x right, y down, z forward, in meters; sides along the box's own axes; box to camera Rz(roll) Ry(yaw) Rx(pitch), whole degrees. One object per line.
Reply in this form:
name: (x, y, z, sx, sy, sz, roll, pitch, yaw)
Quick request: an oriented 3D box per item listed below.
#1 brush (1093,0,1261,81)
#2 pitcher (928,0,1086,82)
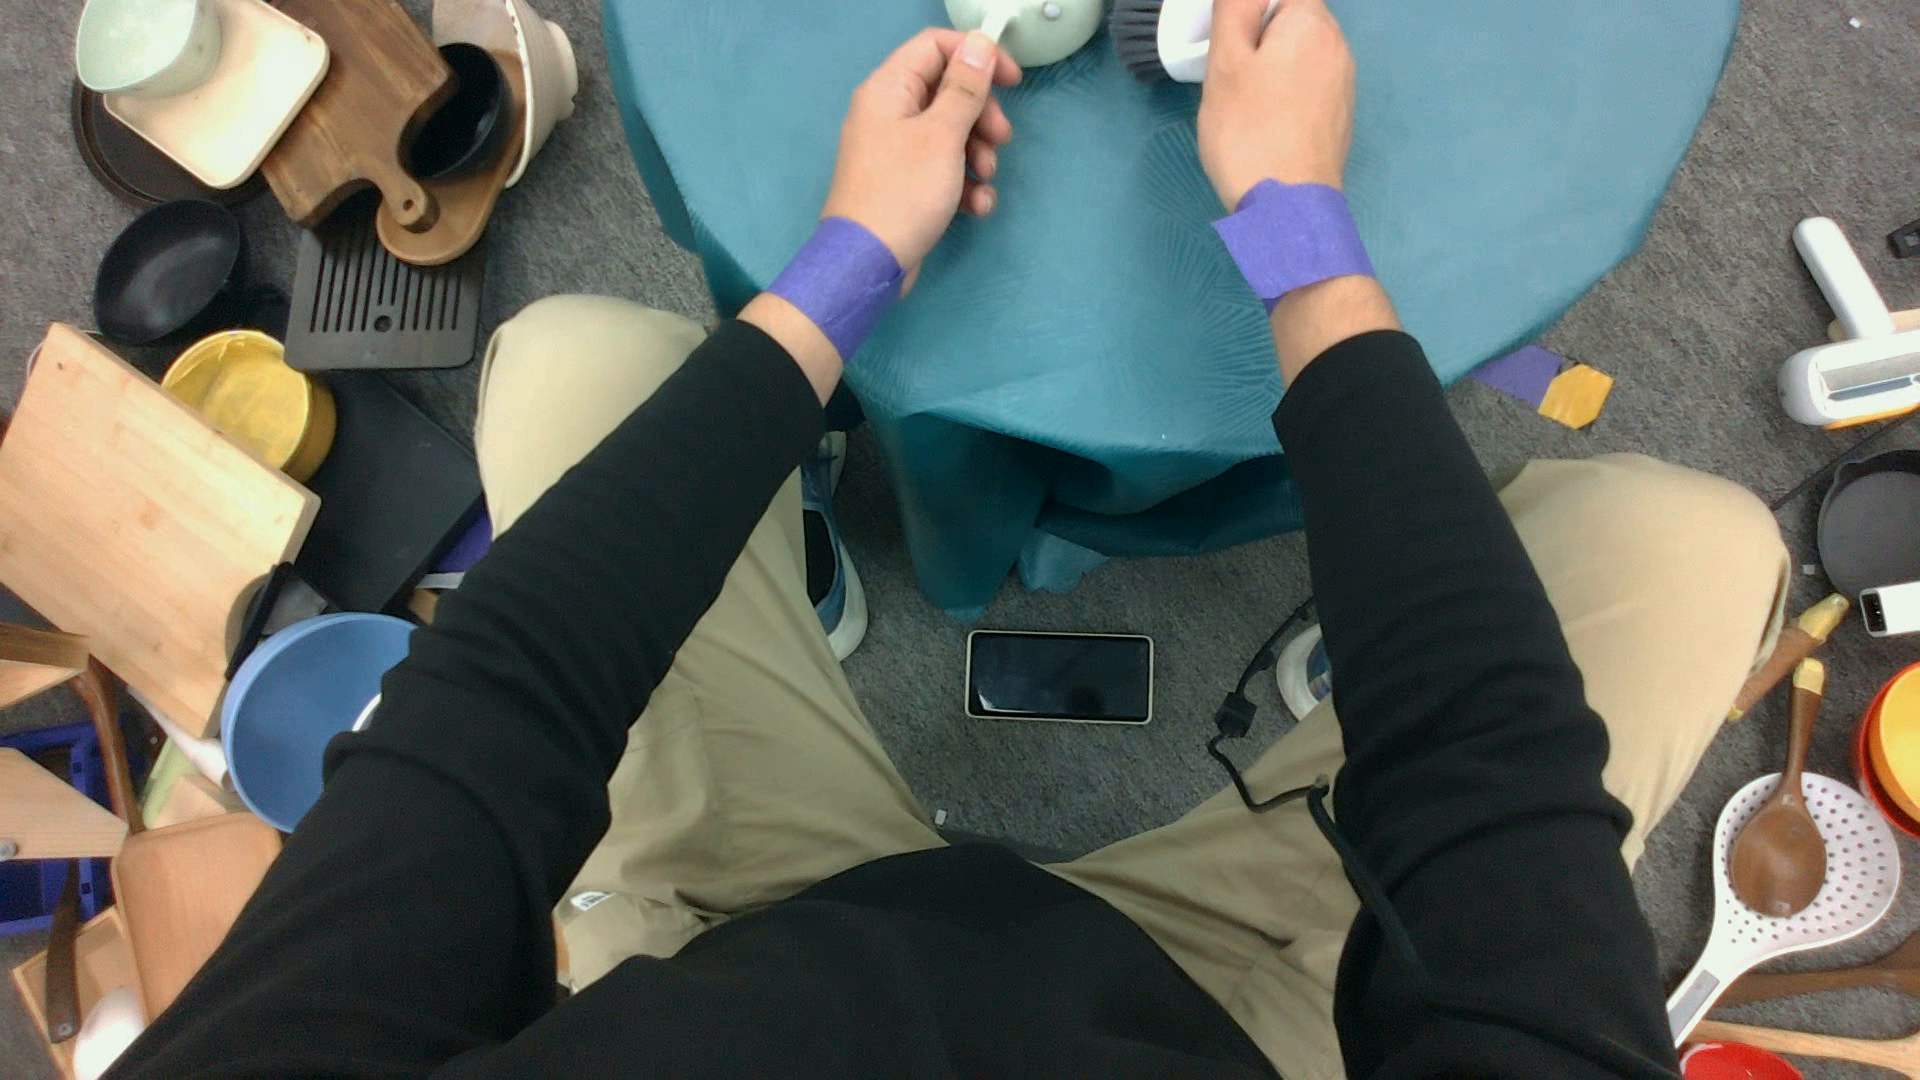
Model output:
brush: (0.116, -0.274, 0.680, 0.072, 0.050, 0.099, 13, 77, 36)
pitcher: (0.020, -0.281, 0.699, 0.086, 0.060, 0.108, 20, 87, 7)
